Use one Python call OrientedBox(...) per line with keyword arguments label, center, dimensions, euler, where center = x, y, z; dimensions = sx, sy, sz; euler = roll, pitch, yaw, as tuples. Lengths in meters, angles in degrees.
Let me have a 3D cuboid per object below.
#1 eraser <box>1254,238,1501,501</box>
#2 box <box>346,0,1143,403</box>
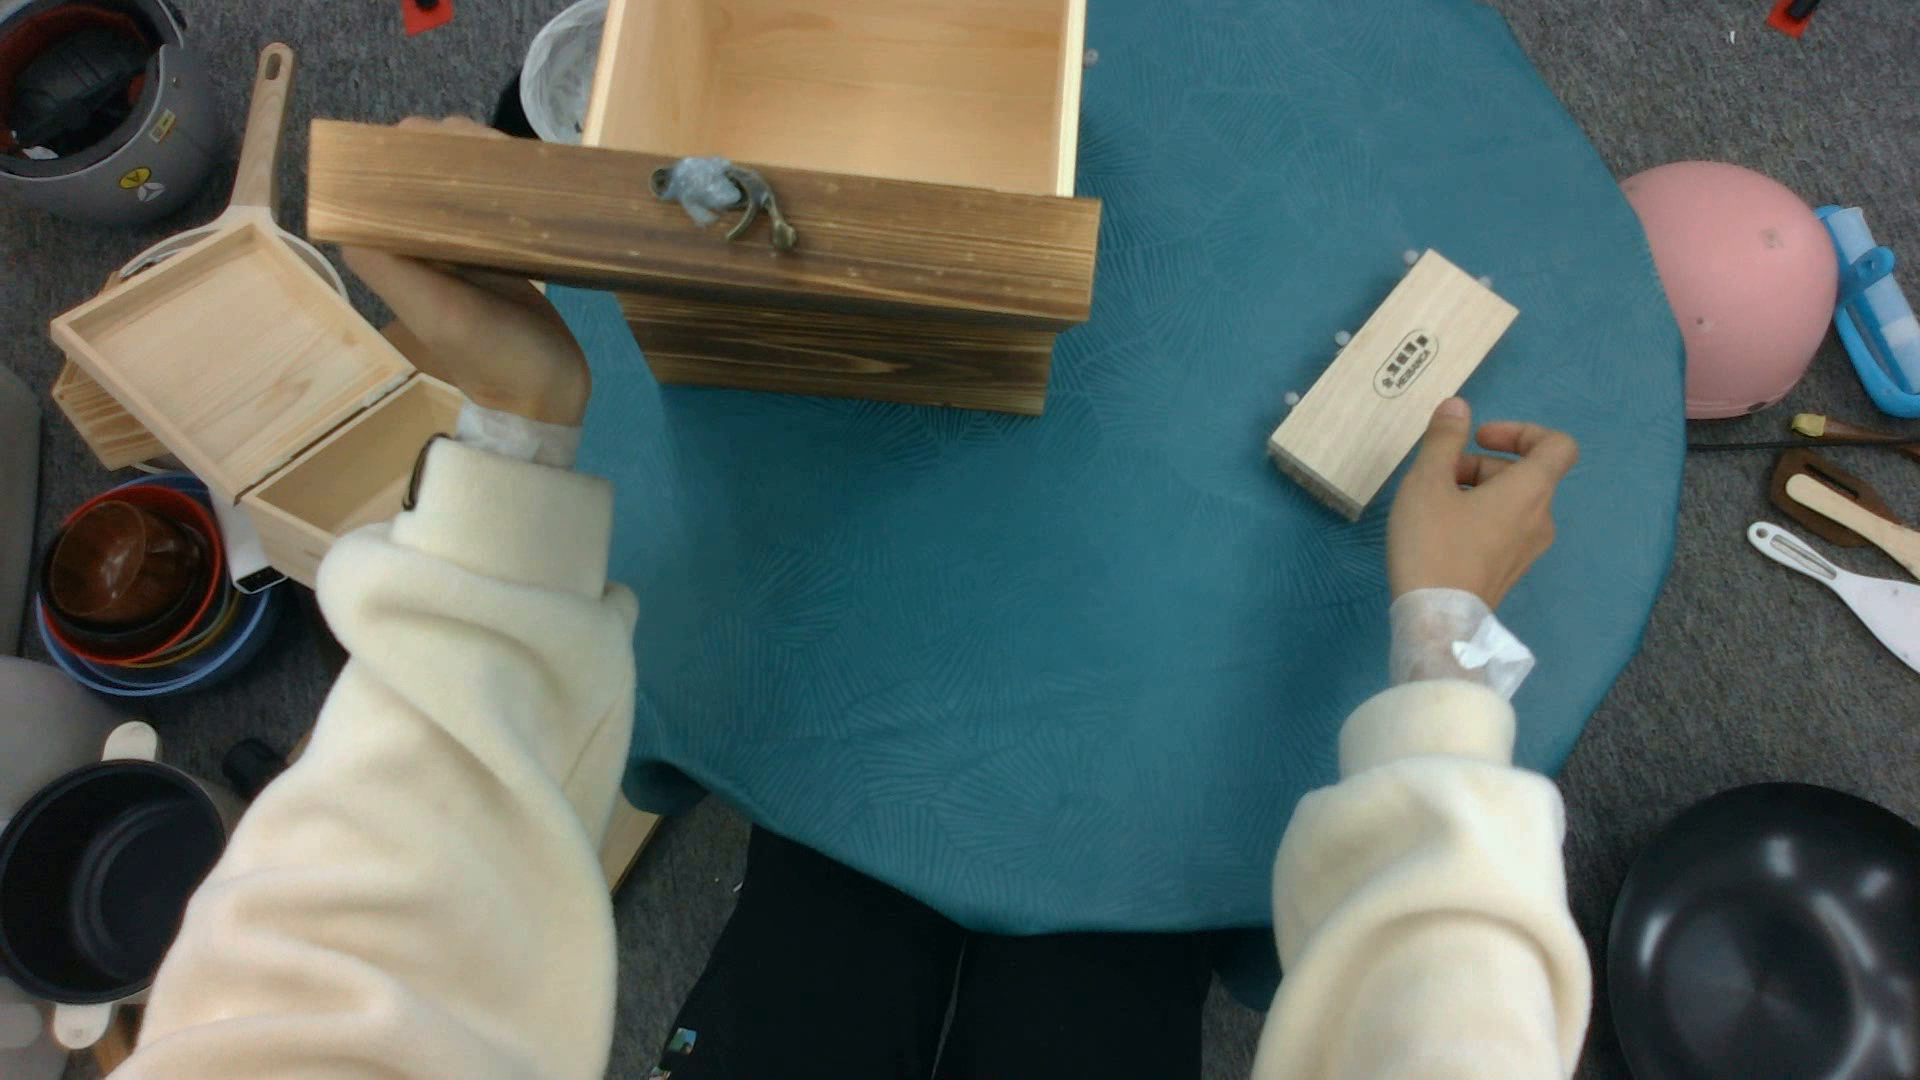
OrientedBox(label="eraser", center=(0.212, -0.088, 0.705), dimensions=(0.057, 0.029, 0.139), euler=(40, 75, 9))
OrientedBox(label="box", center=(-0.054, -0.182, 0.555), dimensions=(0.209, 0.374, 0.323), euler=(4, 71, -1))
